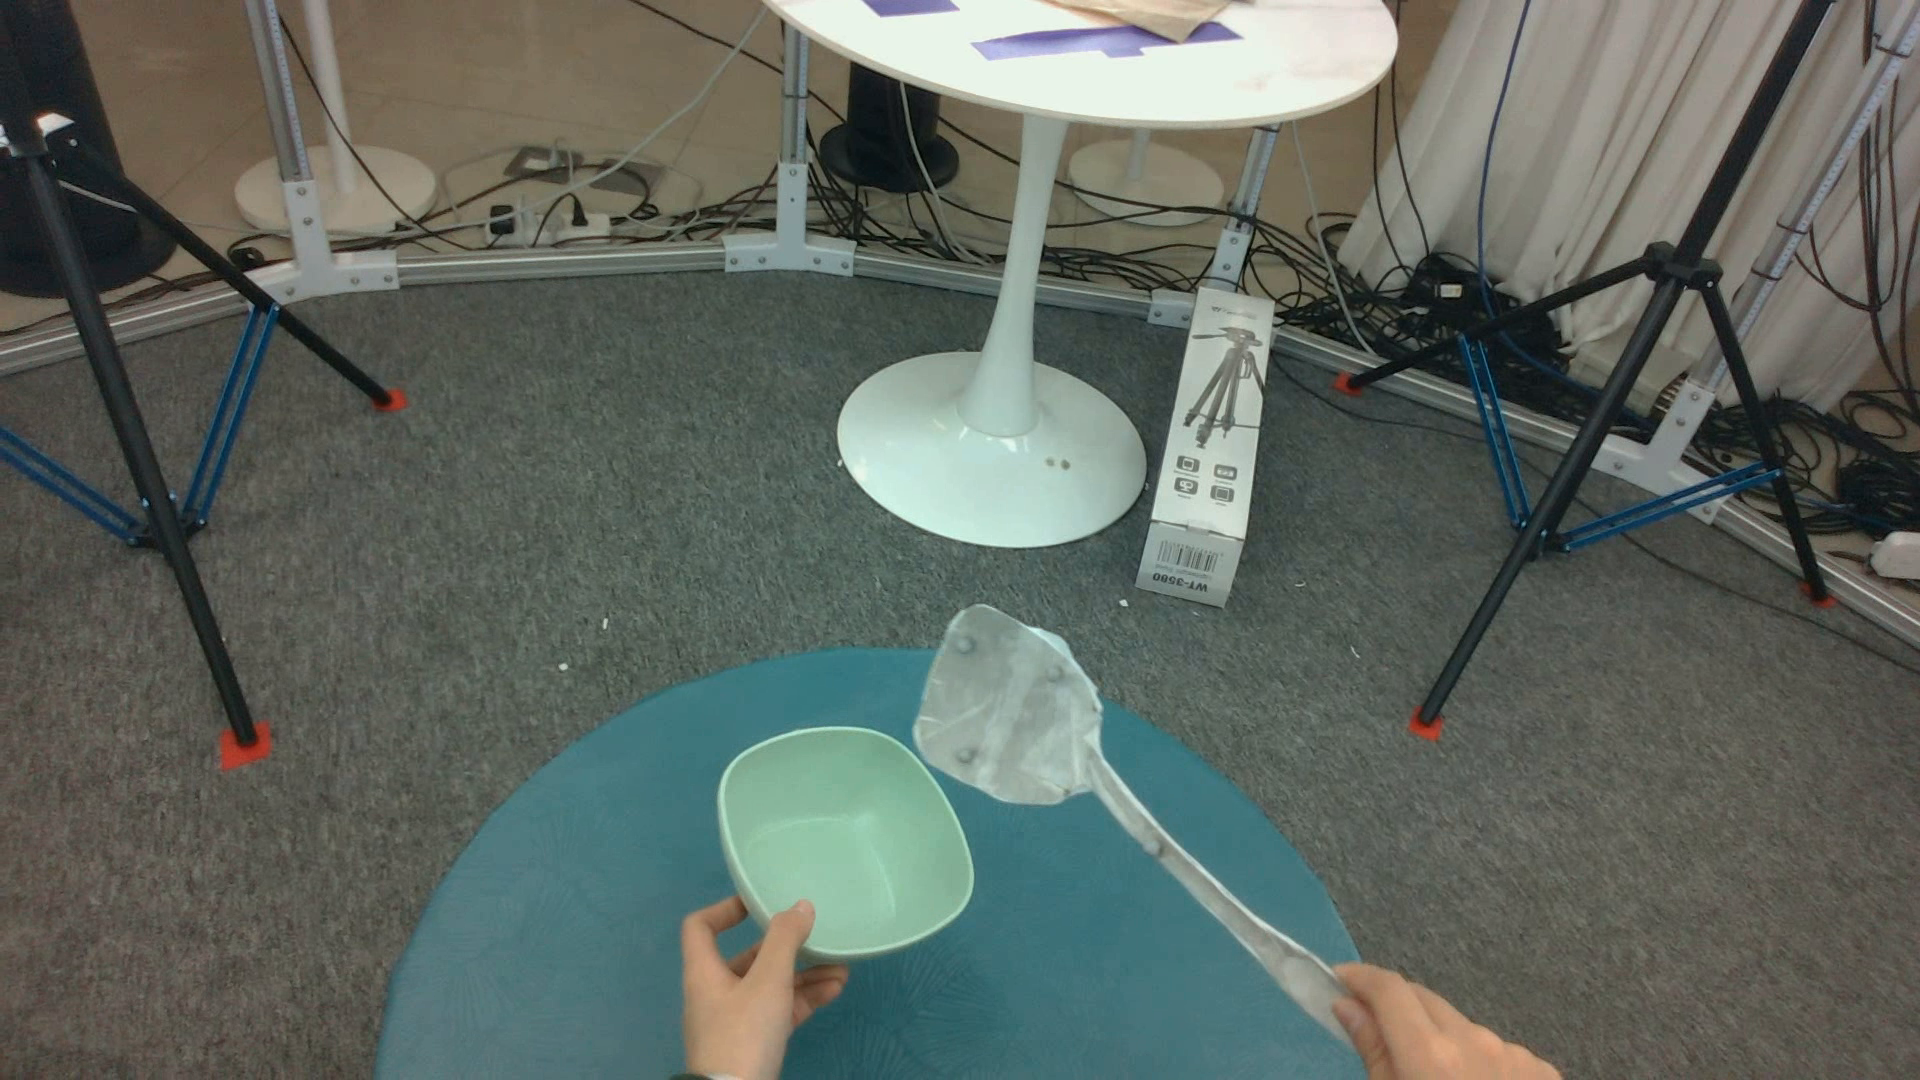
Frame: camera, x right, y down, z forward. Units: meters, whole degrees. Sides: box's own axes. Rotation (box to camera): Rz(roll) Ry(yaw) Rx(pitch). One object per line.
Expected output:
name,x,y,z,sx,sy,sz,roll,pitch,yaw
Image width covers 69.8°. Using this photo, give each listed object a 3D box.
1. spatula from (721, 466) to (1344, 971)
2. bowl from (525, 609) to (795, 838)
spatula,0.021,0.082,0.642,0.365,0.098,0.045,35,25,32
bowl,-0.172,0.110,0.764,0.151,0.058,0.152,20,37,-16
